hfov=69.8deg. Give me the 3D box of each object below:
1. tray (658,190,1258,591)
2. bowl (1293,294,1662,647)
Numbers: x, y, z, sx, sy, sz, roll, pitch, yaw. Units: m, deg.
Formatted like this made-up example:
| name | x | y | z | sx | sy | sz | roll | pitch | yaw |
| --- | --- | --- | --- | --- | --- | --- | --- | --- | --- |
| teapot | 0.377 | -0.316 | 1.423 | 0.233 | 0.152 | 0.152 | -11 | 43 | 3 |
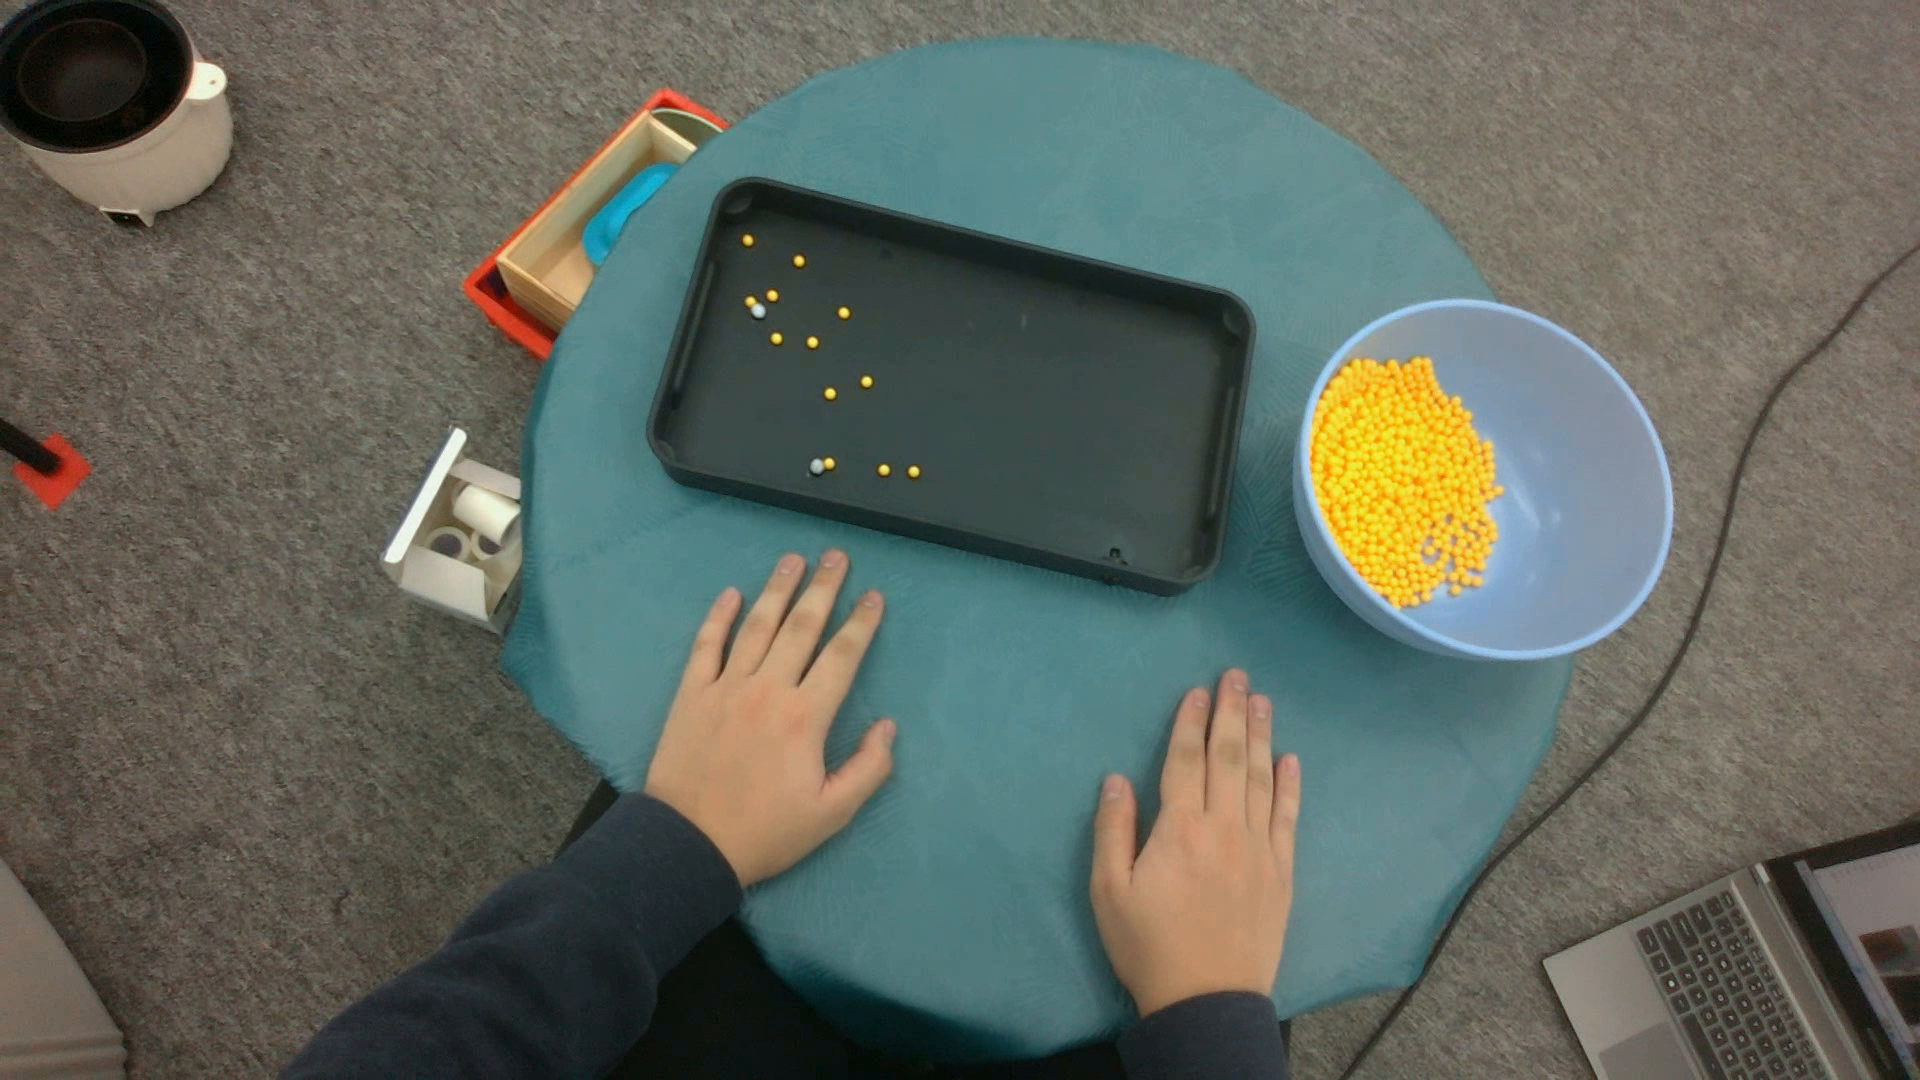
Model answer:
| name | x | y | z | sx | sy | sz | roll | pitch | yaw |
| --- | --- | --- | --- | --- | --- | --- | --- | --- | --- |
| tray | 0.003 | -0.086 | 0.788 | 0.318 | 0.037 | 0.185 | 12 | 71 | -1 |
| bowl | 0.269 | -0.027 | 0.763 | 0.196 | 0.095 | 0.197 | 2 | 71 | -6 |
